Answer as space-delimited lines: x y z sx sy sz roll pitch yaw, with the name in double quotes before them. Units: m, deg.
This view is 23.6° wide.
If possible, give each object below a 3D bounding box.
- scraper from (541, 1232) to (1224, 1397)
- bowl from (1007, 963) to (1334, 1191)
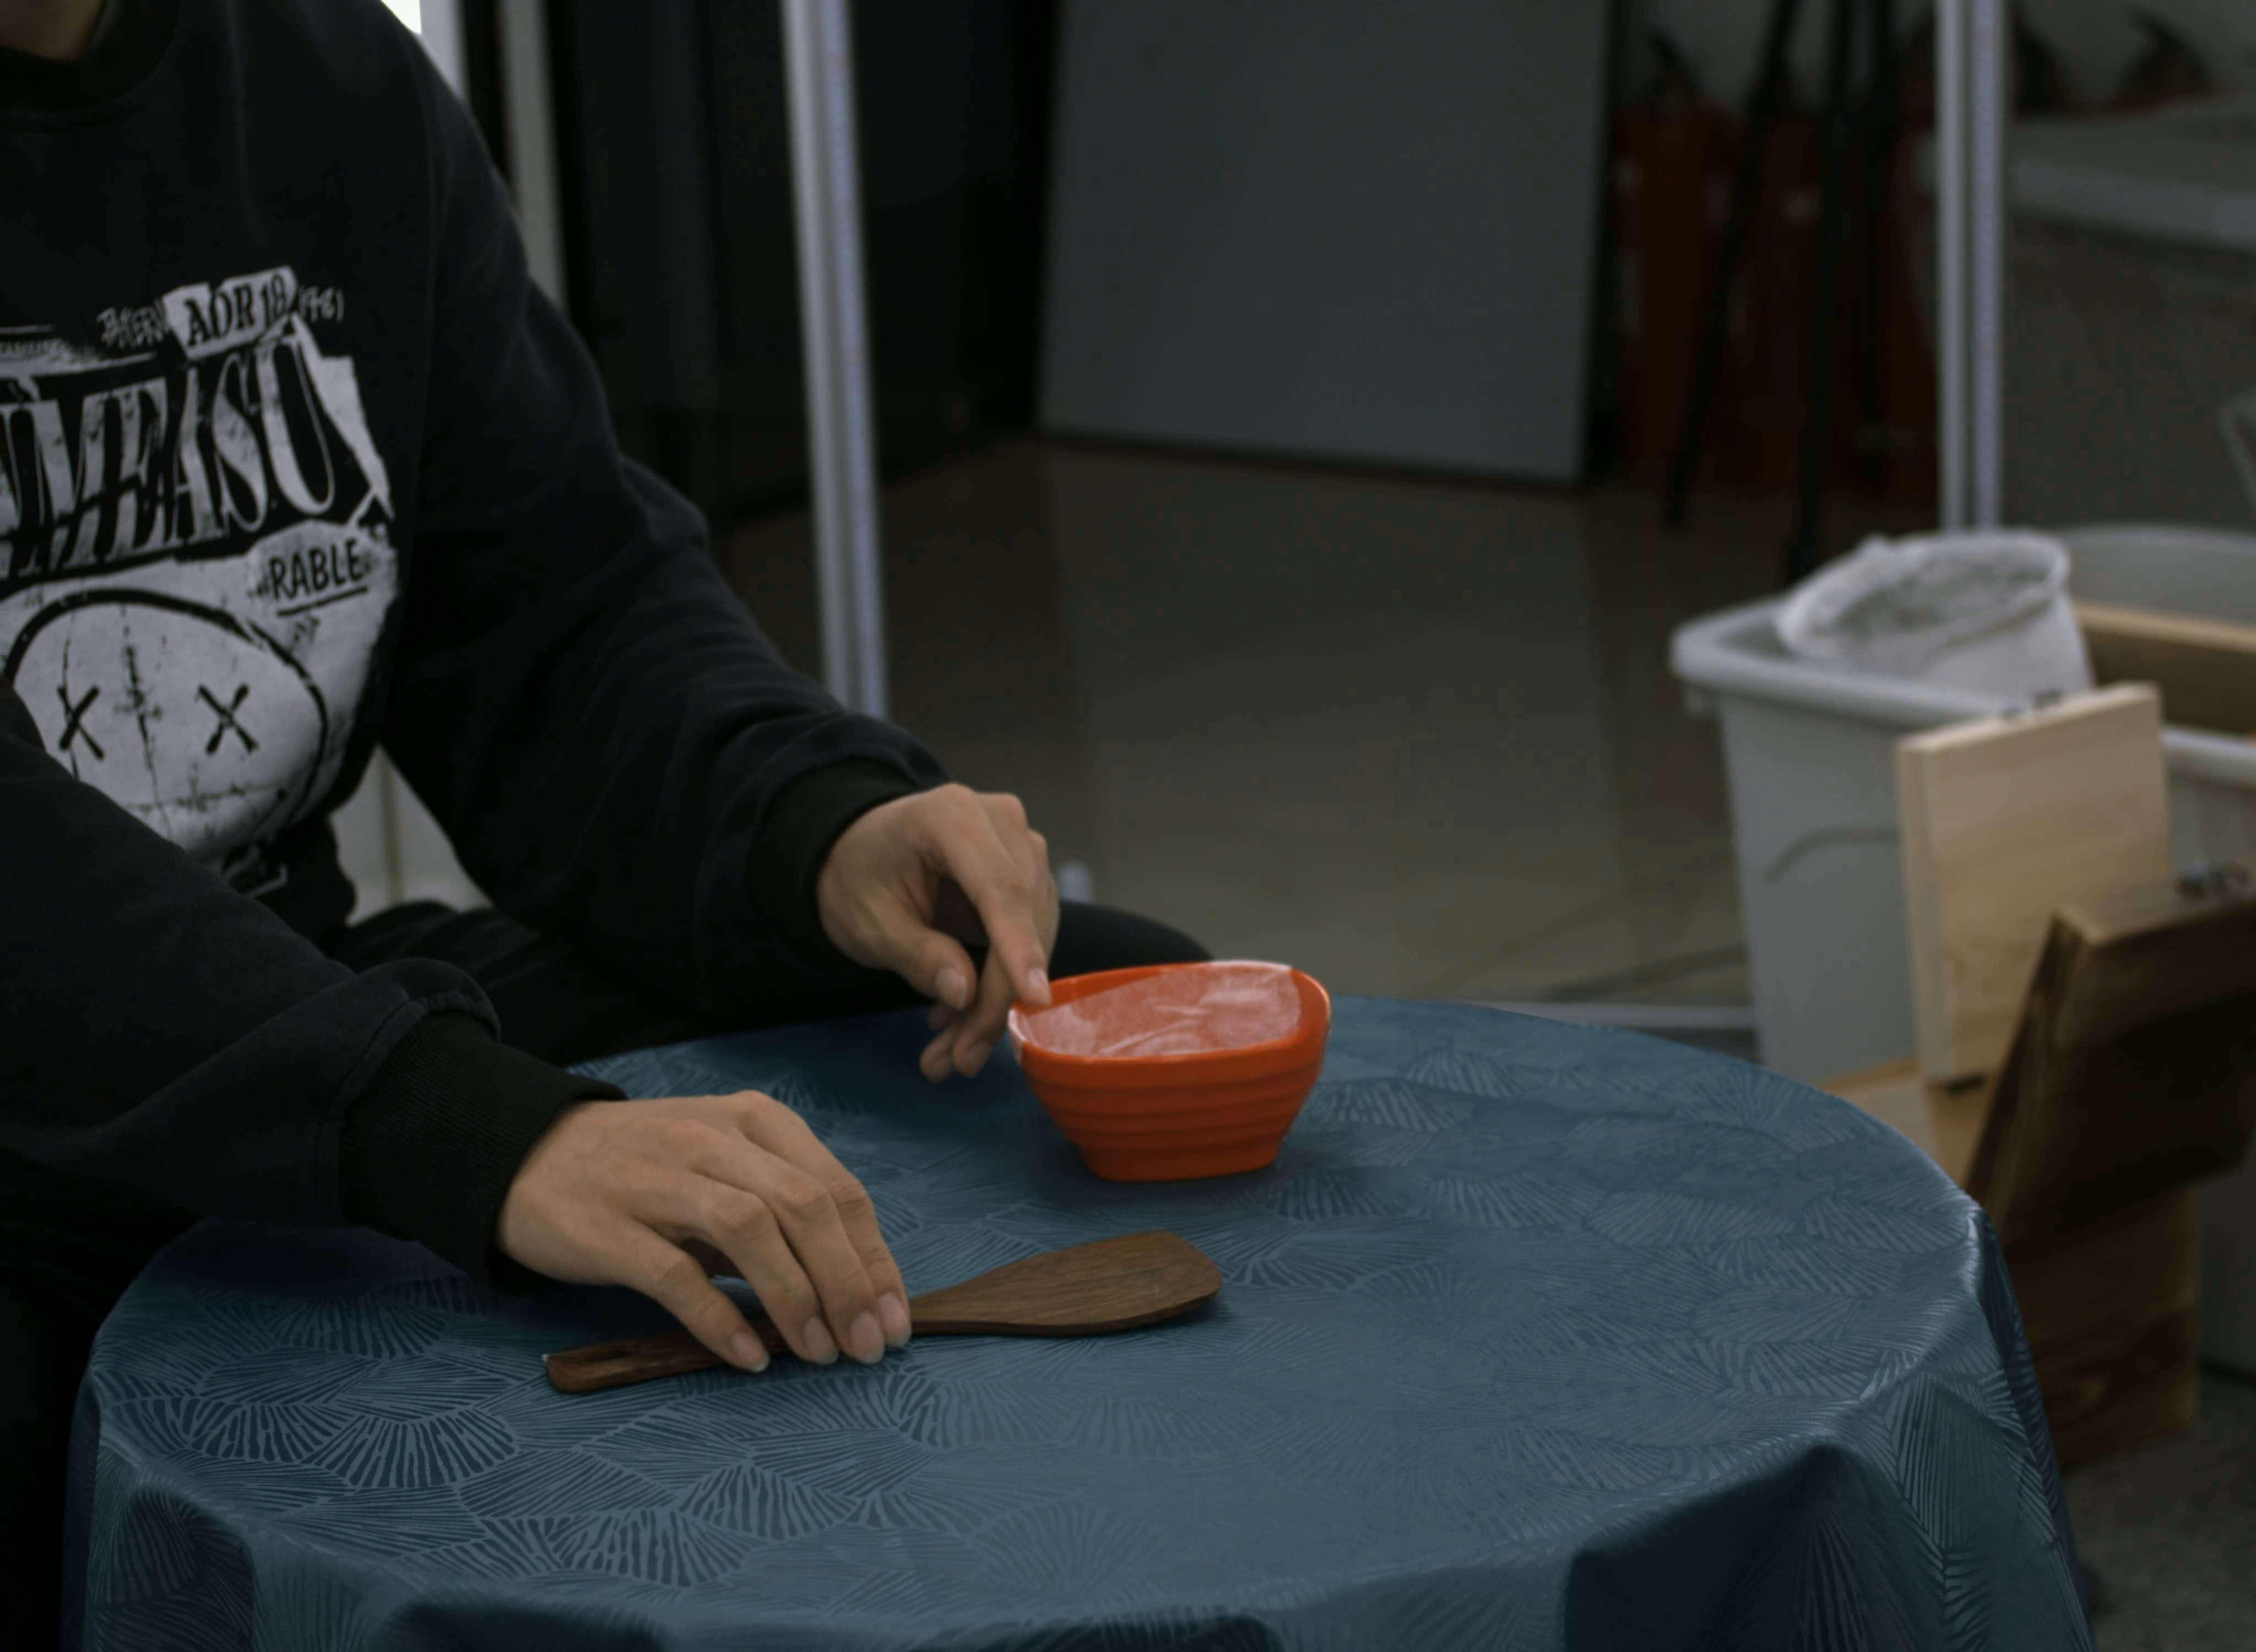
"scraper" -0.075 0.153 1.650 0.207 0.011 0.076 -8 13 -14
"bowl" 0.016 0.087 1.805 0.117 0.052 0.119 -4 15 0
